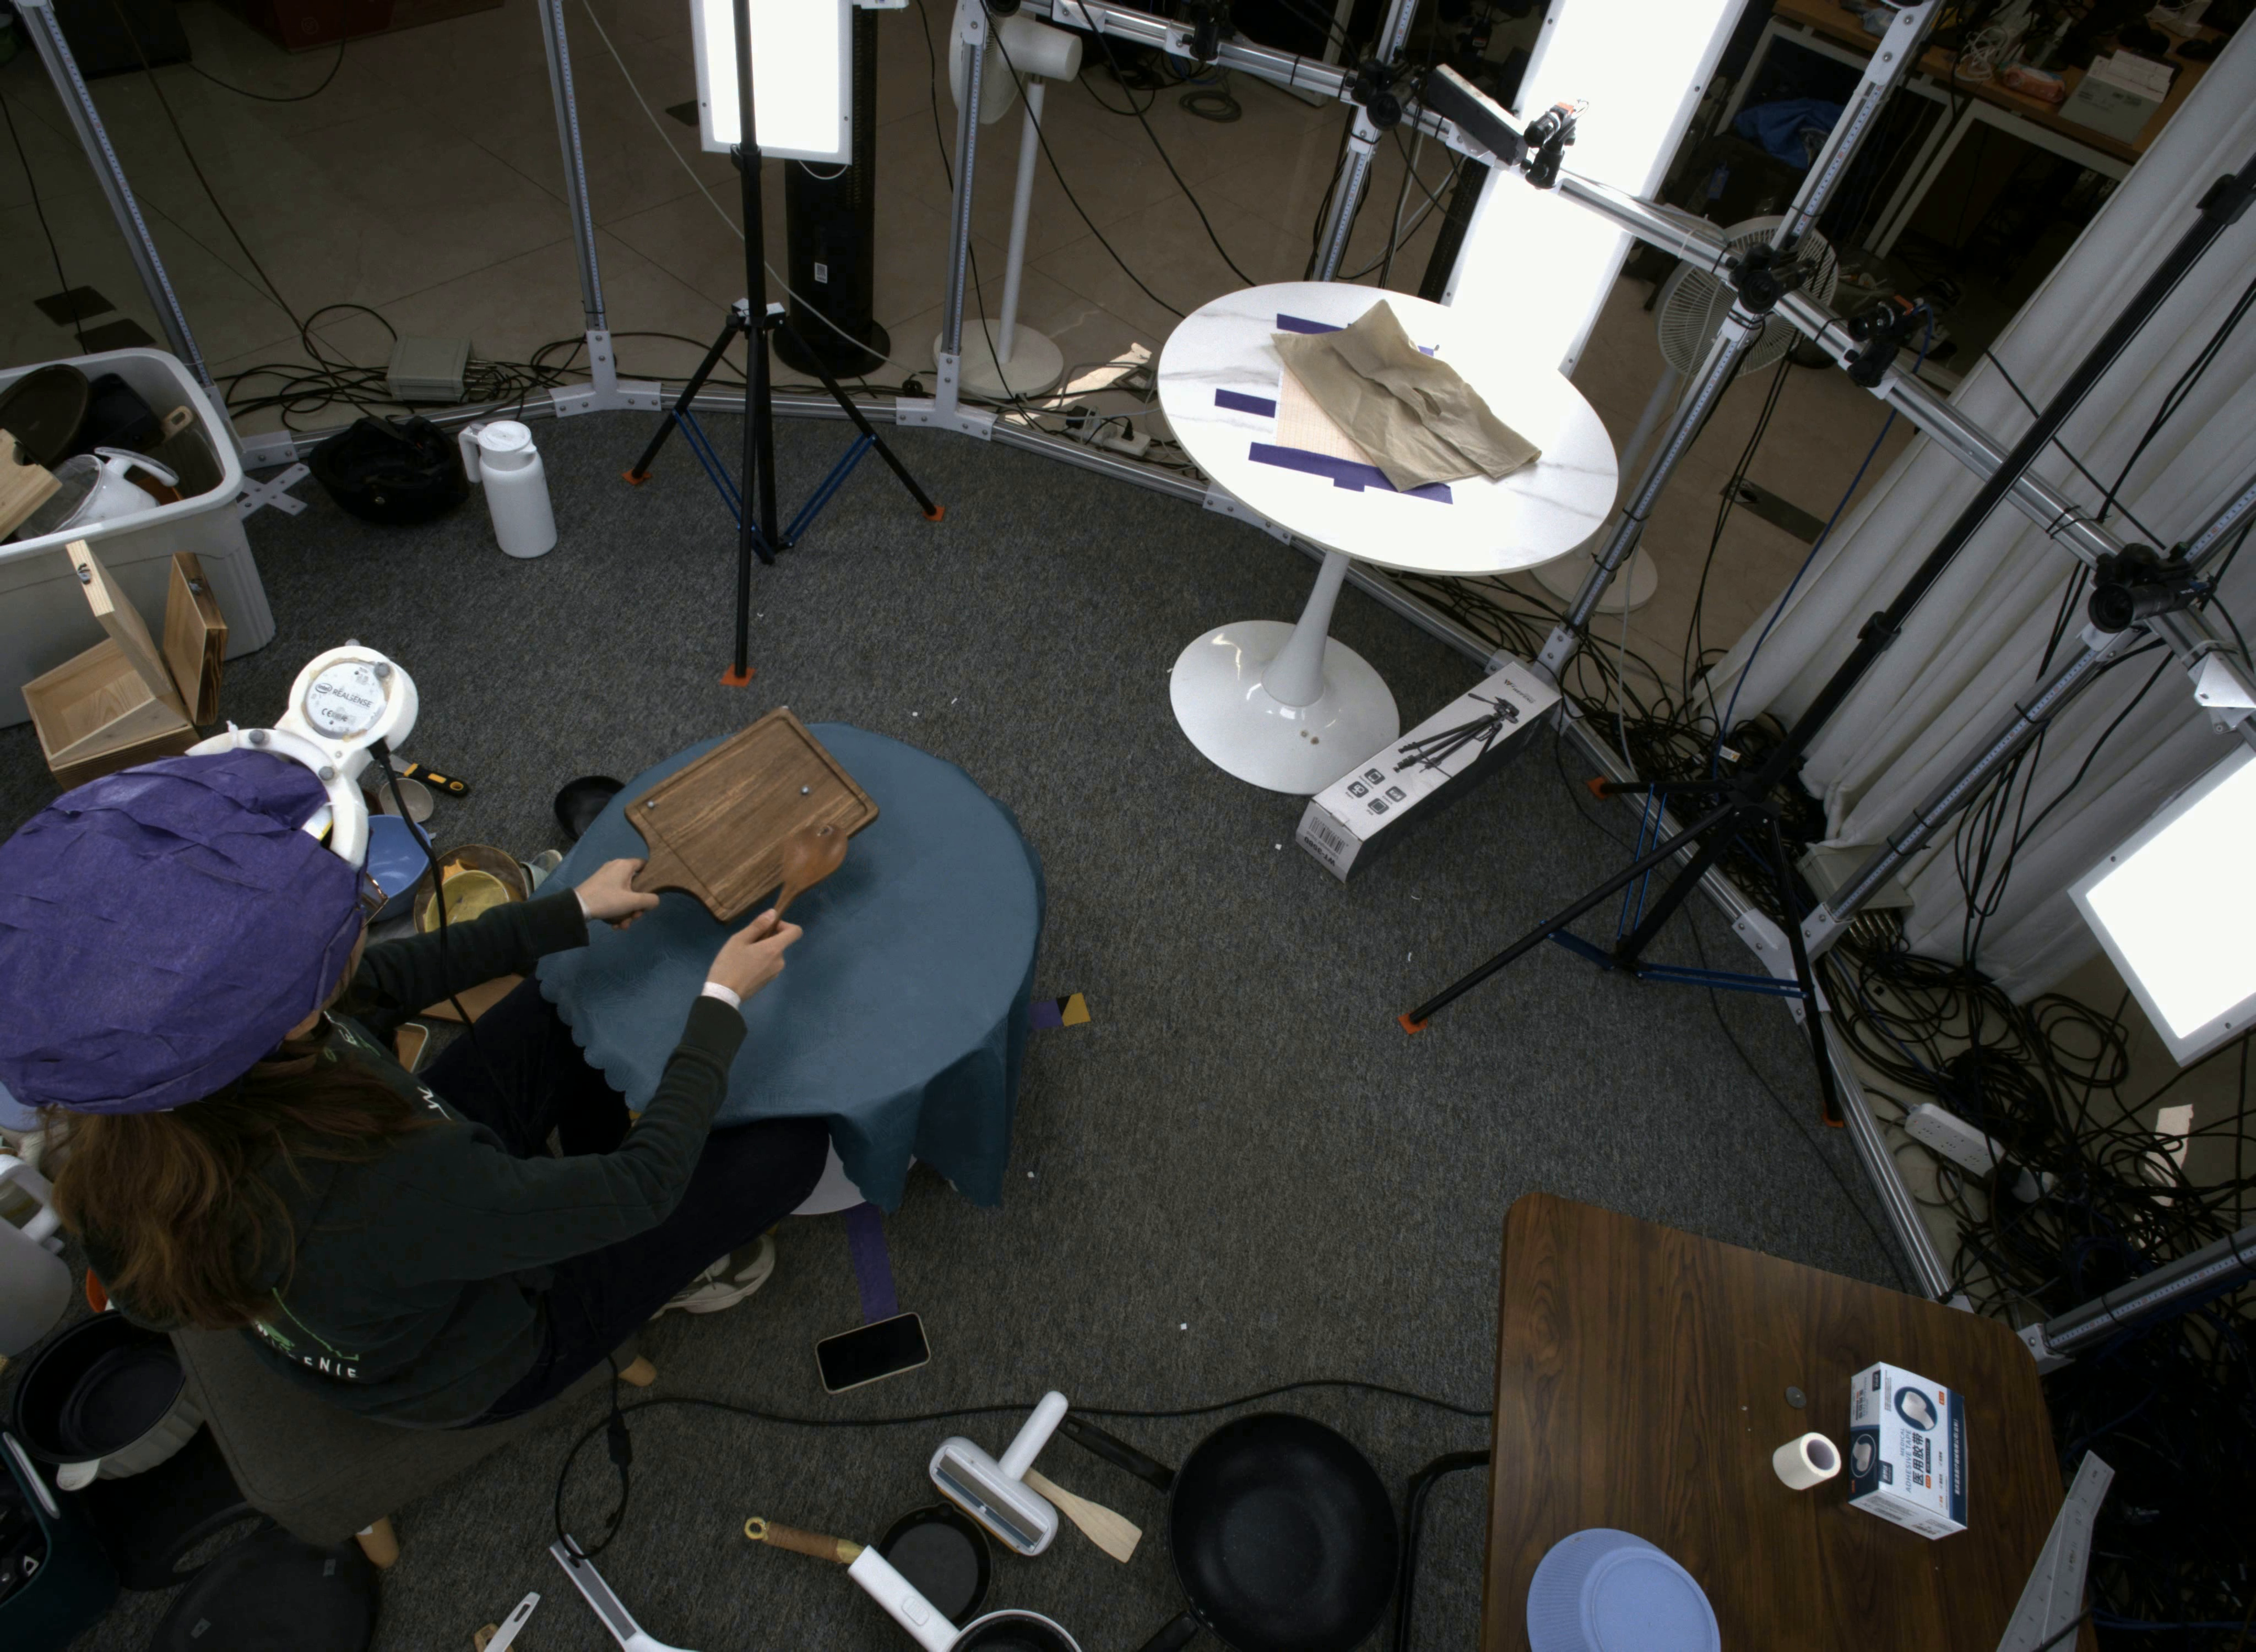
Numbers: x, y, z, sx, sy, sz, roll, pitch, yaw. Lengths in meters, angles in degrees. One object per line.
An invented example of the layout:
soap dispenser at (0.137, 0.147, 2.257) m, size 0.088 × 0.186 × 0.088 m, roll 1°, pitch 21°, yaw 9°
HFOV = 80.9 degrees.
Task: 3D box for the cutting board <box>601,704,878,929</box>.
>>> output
cutting board at (-0.500, 0.008, 1.584) m, size 0.200 × 0.023 × 0.352 m, roll 47°, pitch 59°, yaw 4°

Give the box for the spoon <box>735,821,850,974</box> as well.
spoon at (-0.394, 0.080, 1.505) m, size 0.074 × 0.018 × 0.214 m, roll 19°, pitch 57°, yaw 12°
